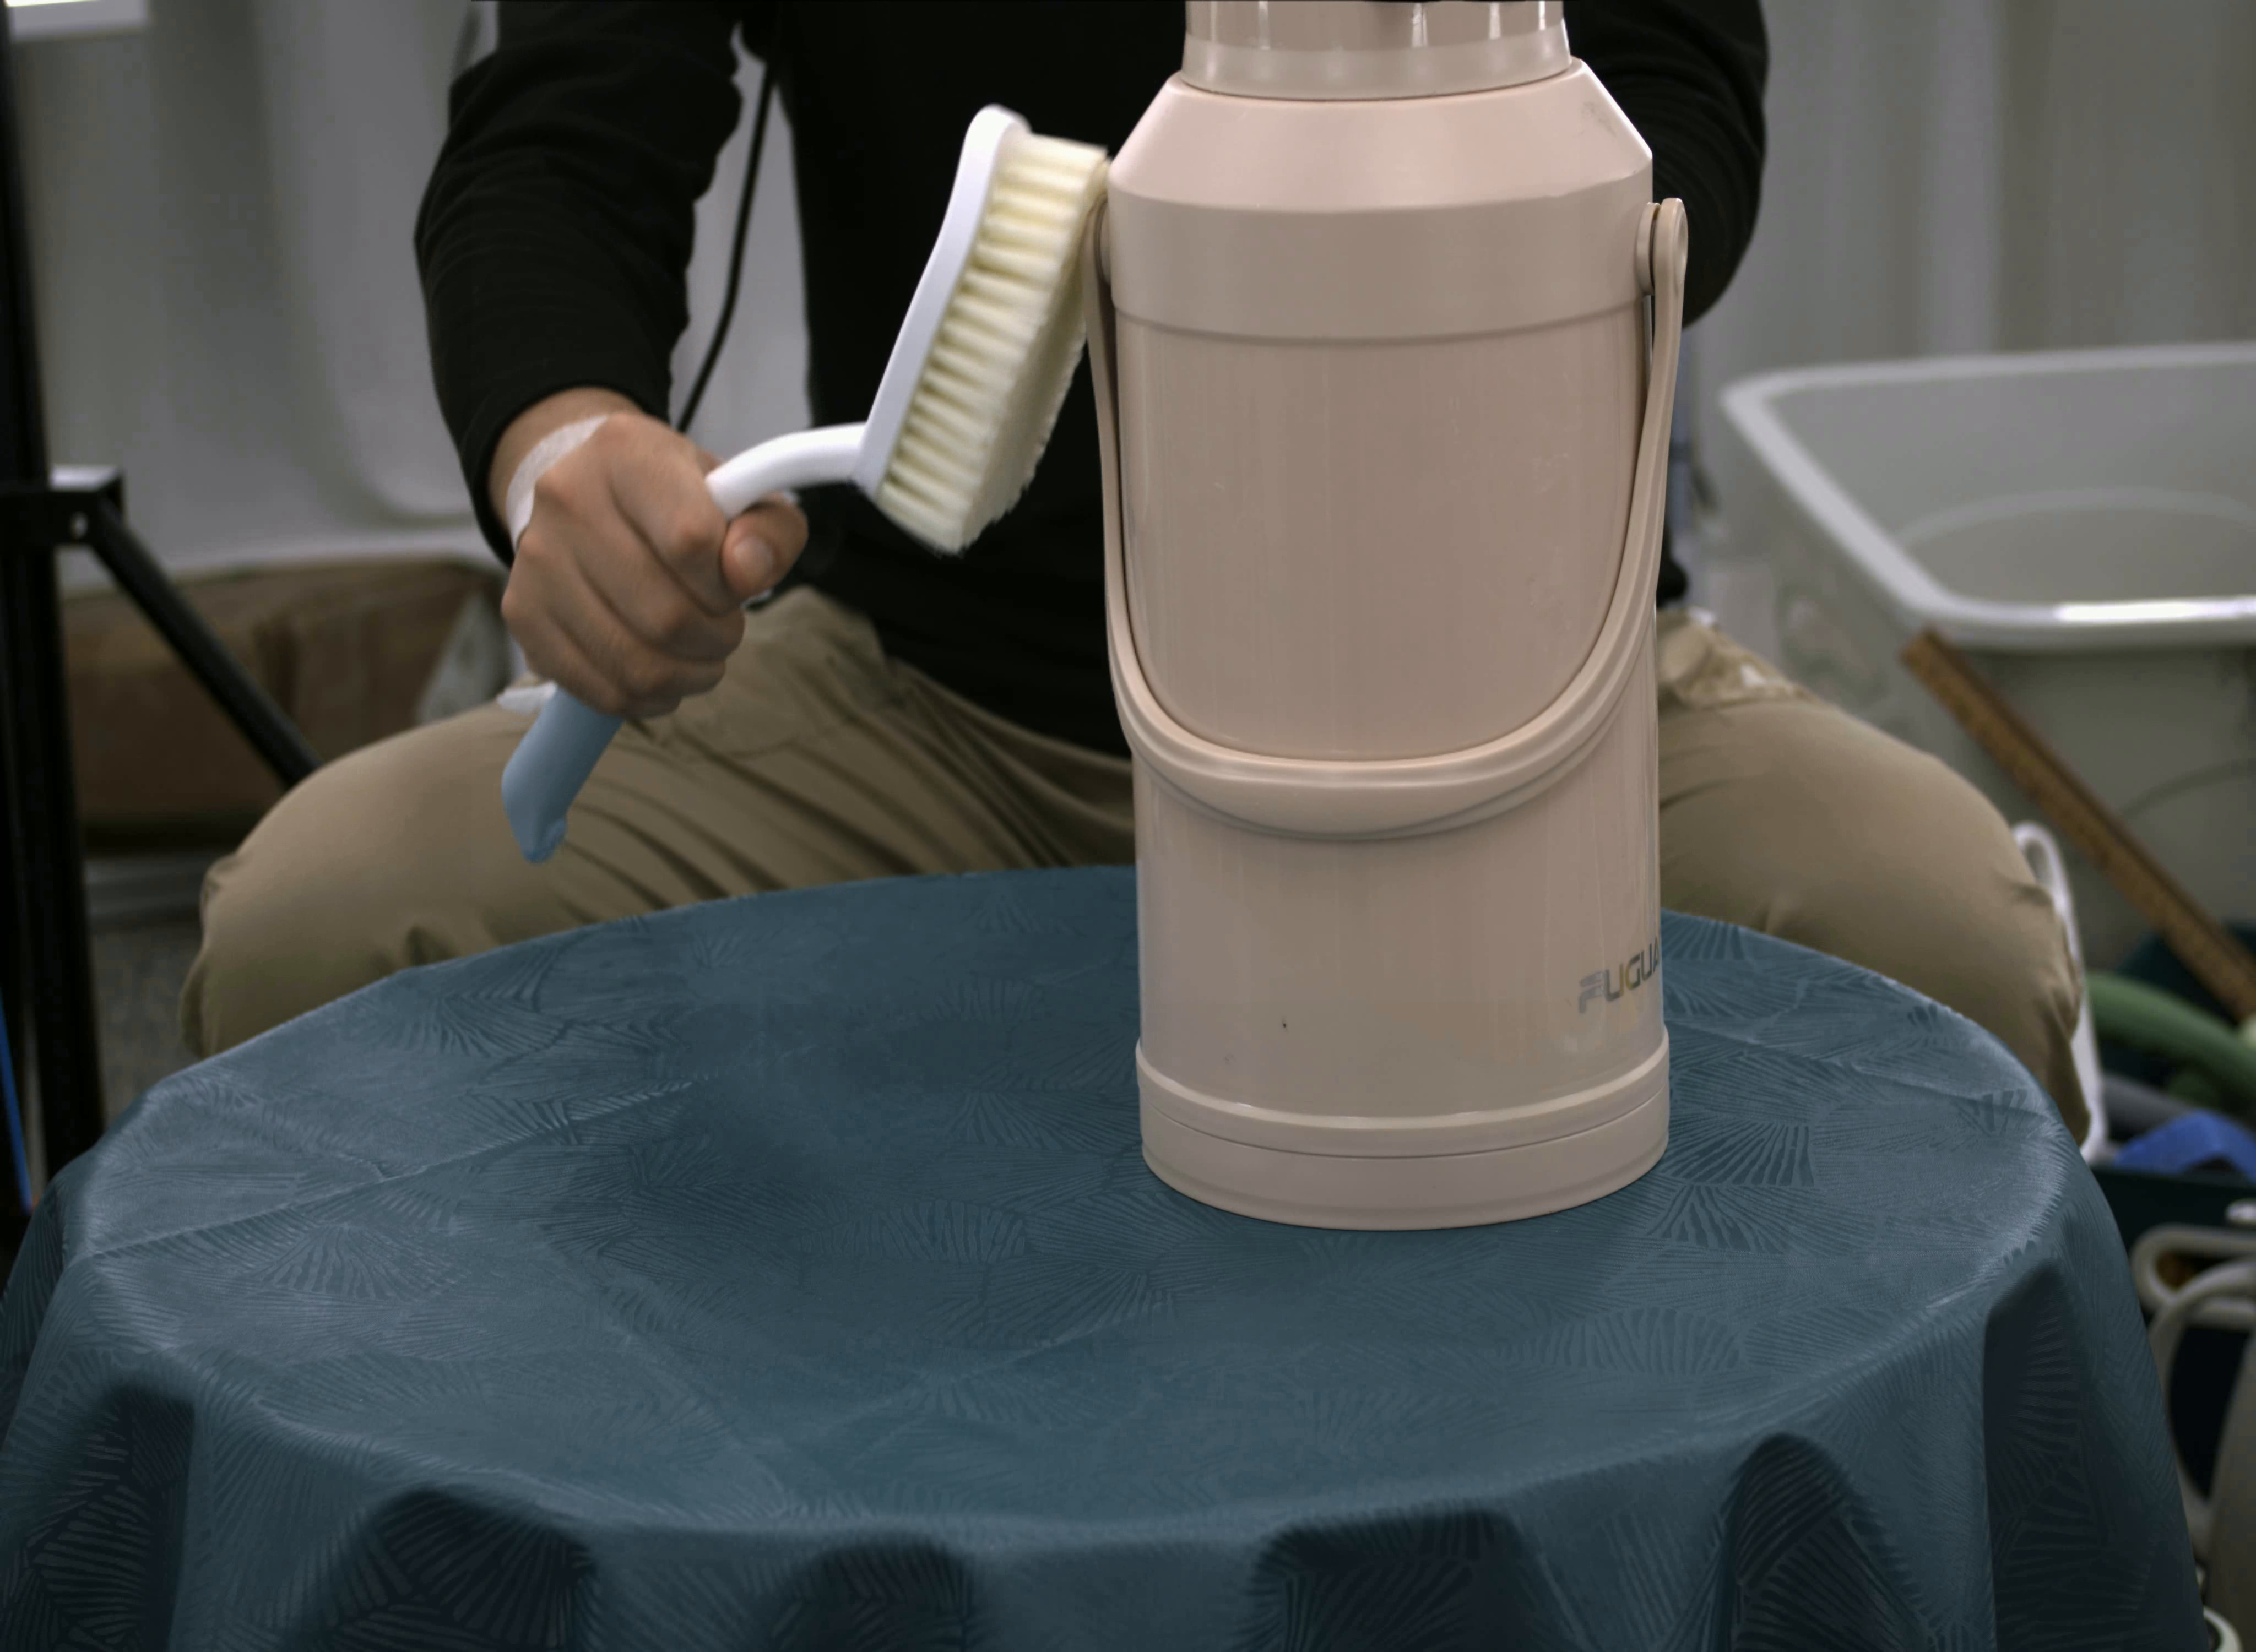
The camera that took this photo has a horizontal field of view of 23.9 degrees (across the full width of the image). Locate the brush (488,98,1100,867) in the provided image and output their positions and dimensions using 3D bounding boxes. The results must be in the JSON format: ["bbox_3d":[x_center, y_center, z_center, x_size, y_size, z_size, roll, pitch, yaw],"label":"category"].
[{"bbox_3d":[-0.091,-0.082,1.626,0.081,0.328,0.086,6,45,-36],"label":"brush"}]

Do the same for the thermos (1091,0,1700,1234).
[{"bbox_3d":[0.084,-0.100,1.551,0.177,0.406,0.205,1,15,17],"label":"thermos"}]
